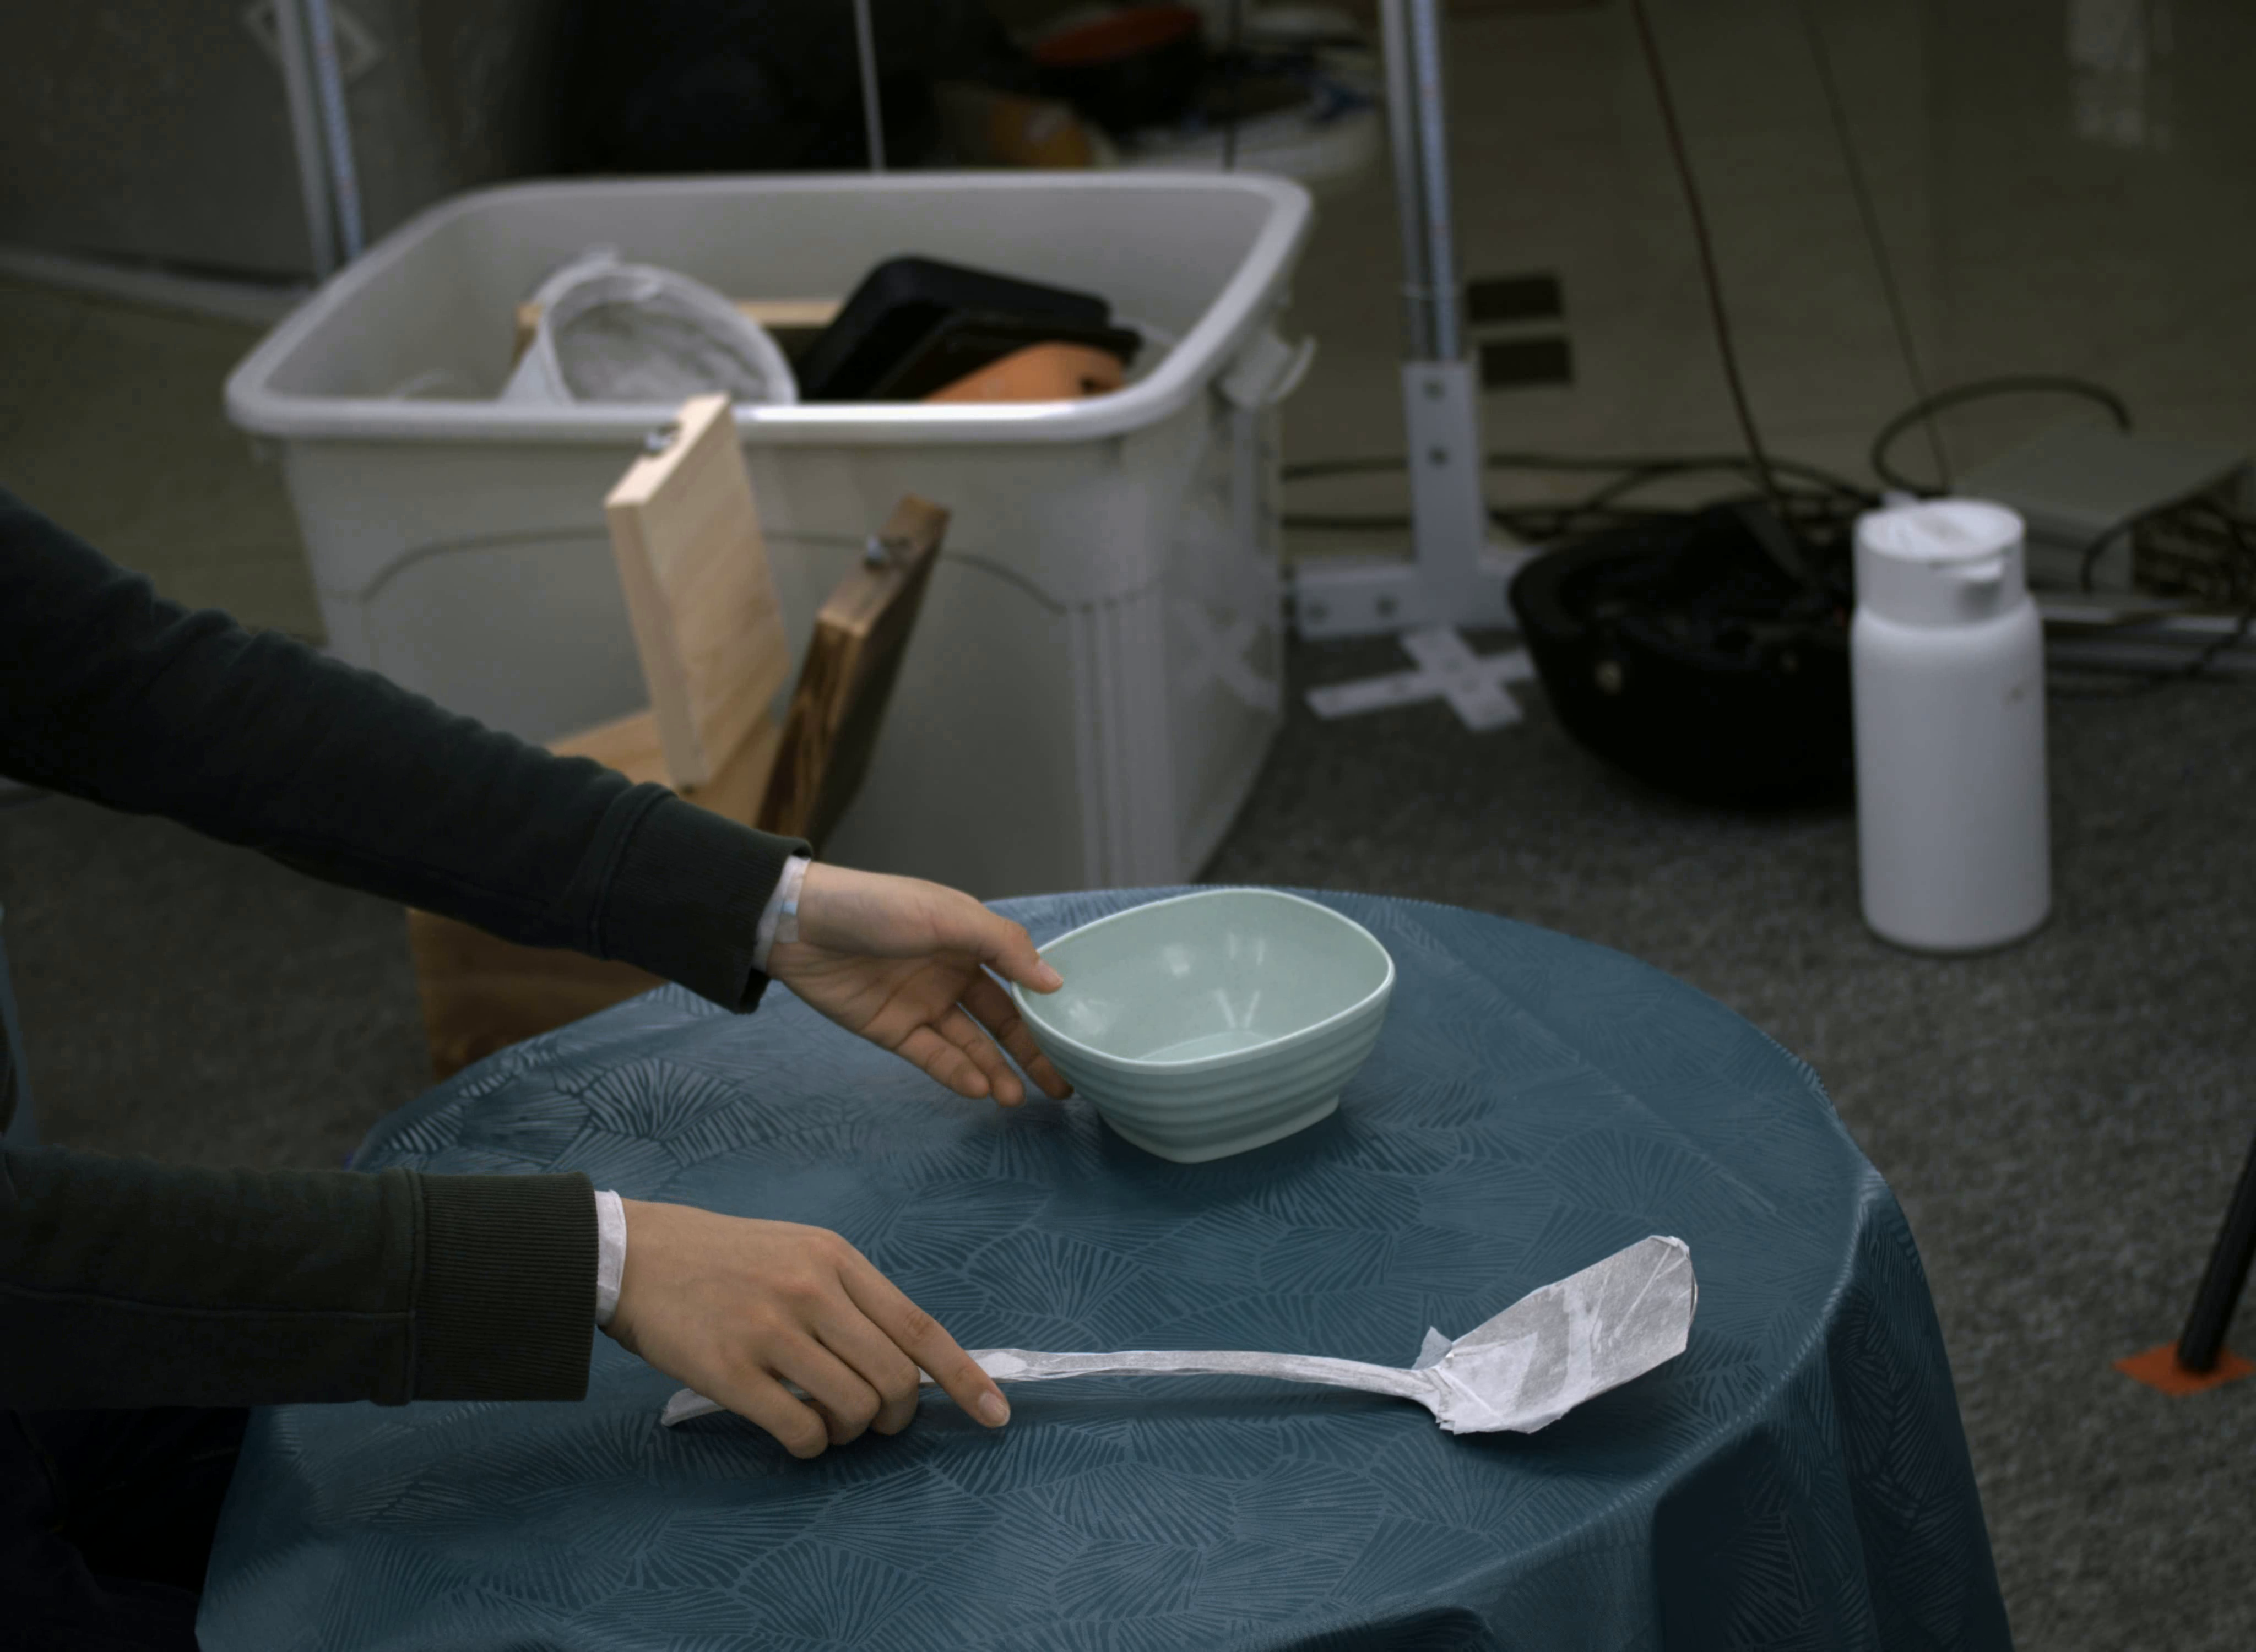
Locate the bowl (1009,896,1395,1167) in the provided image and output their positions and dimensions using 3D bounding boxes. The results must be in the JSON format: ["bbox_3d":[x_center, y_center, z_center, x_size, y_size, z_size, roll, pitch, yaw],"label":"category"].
[{"bbox_3d":[0.030,0.085,2.197,0.151,0.059,0.149,-3,25,1],"label":"bowl"}]

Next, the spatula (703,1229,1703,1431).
[{"bbox_3d":[0.021,0.185,2.003,0.364,0.045,0.097,-2,27,10],"label":"spatula"}]
